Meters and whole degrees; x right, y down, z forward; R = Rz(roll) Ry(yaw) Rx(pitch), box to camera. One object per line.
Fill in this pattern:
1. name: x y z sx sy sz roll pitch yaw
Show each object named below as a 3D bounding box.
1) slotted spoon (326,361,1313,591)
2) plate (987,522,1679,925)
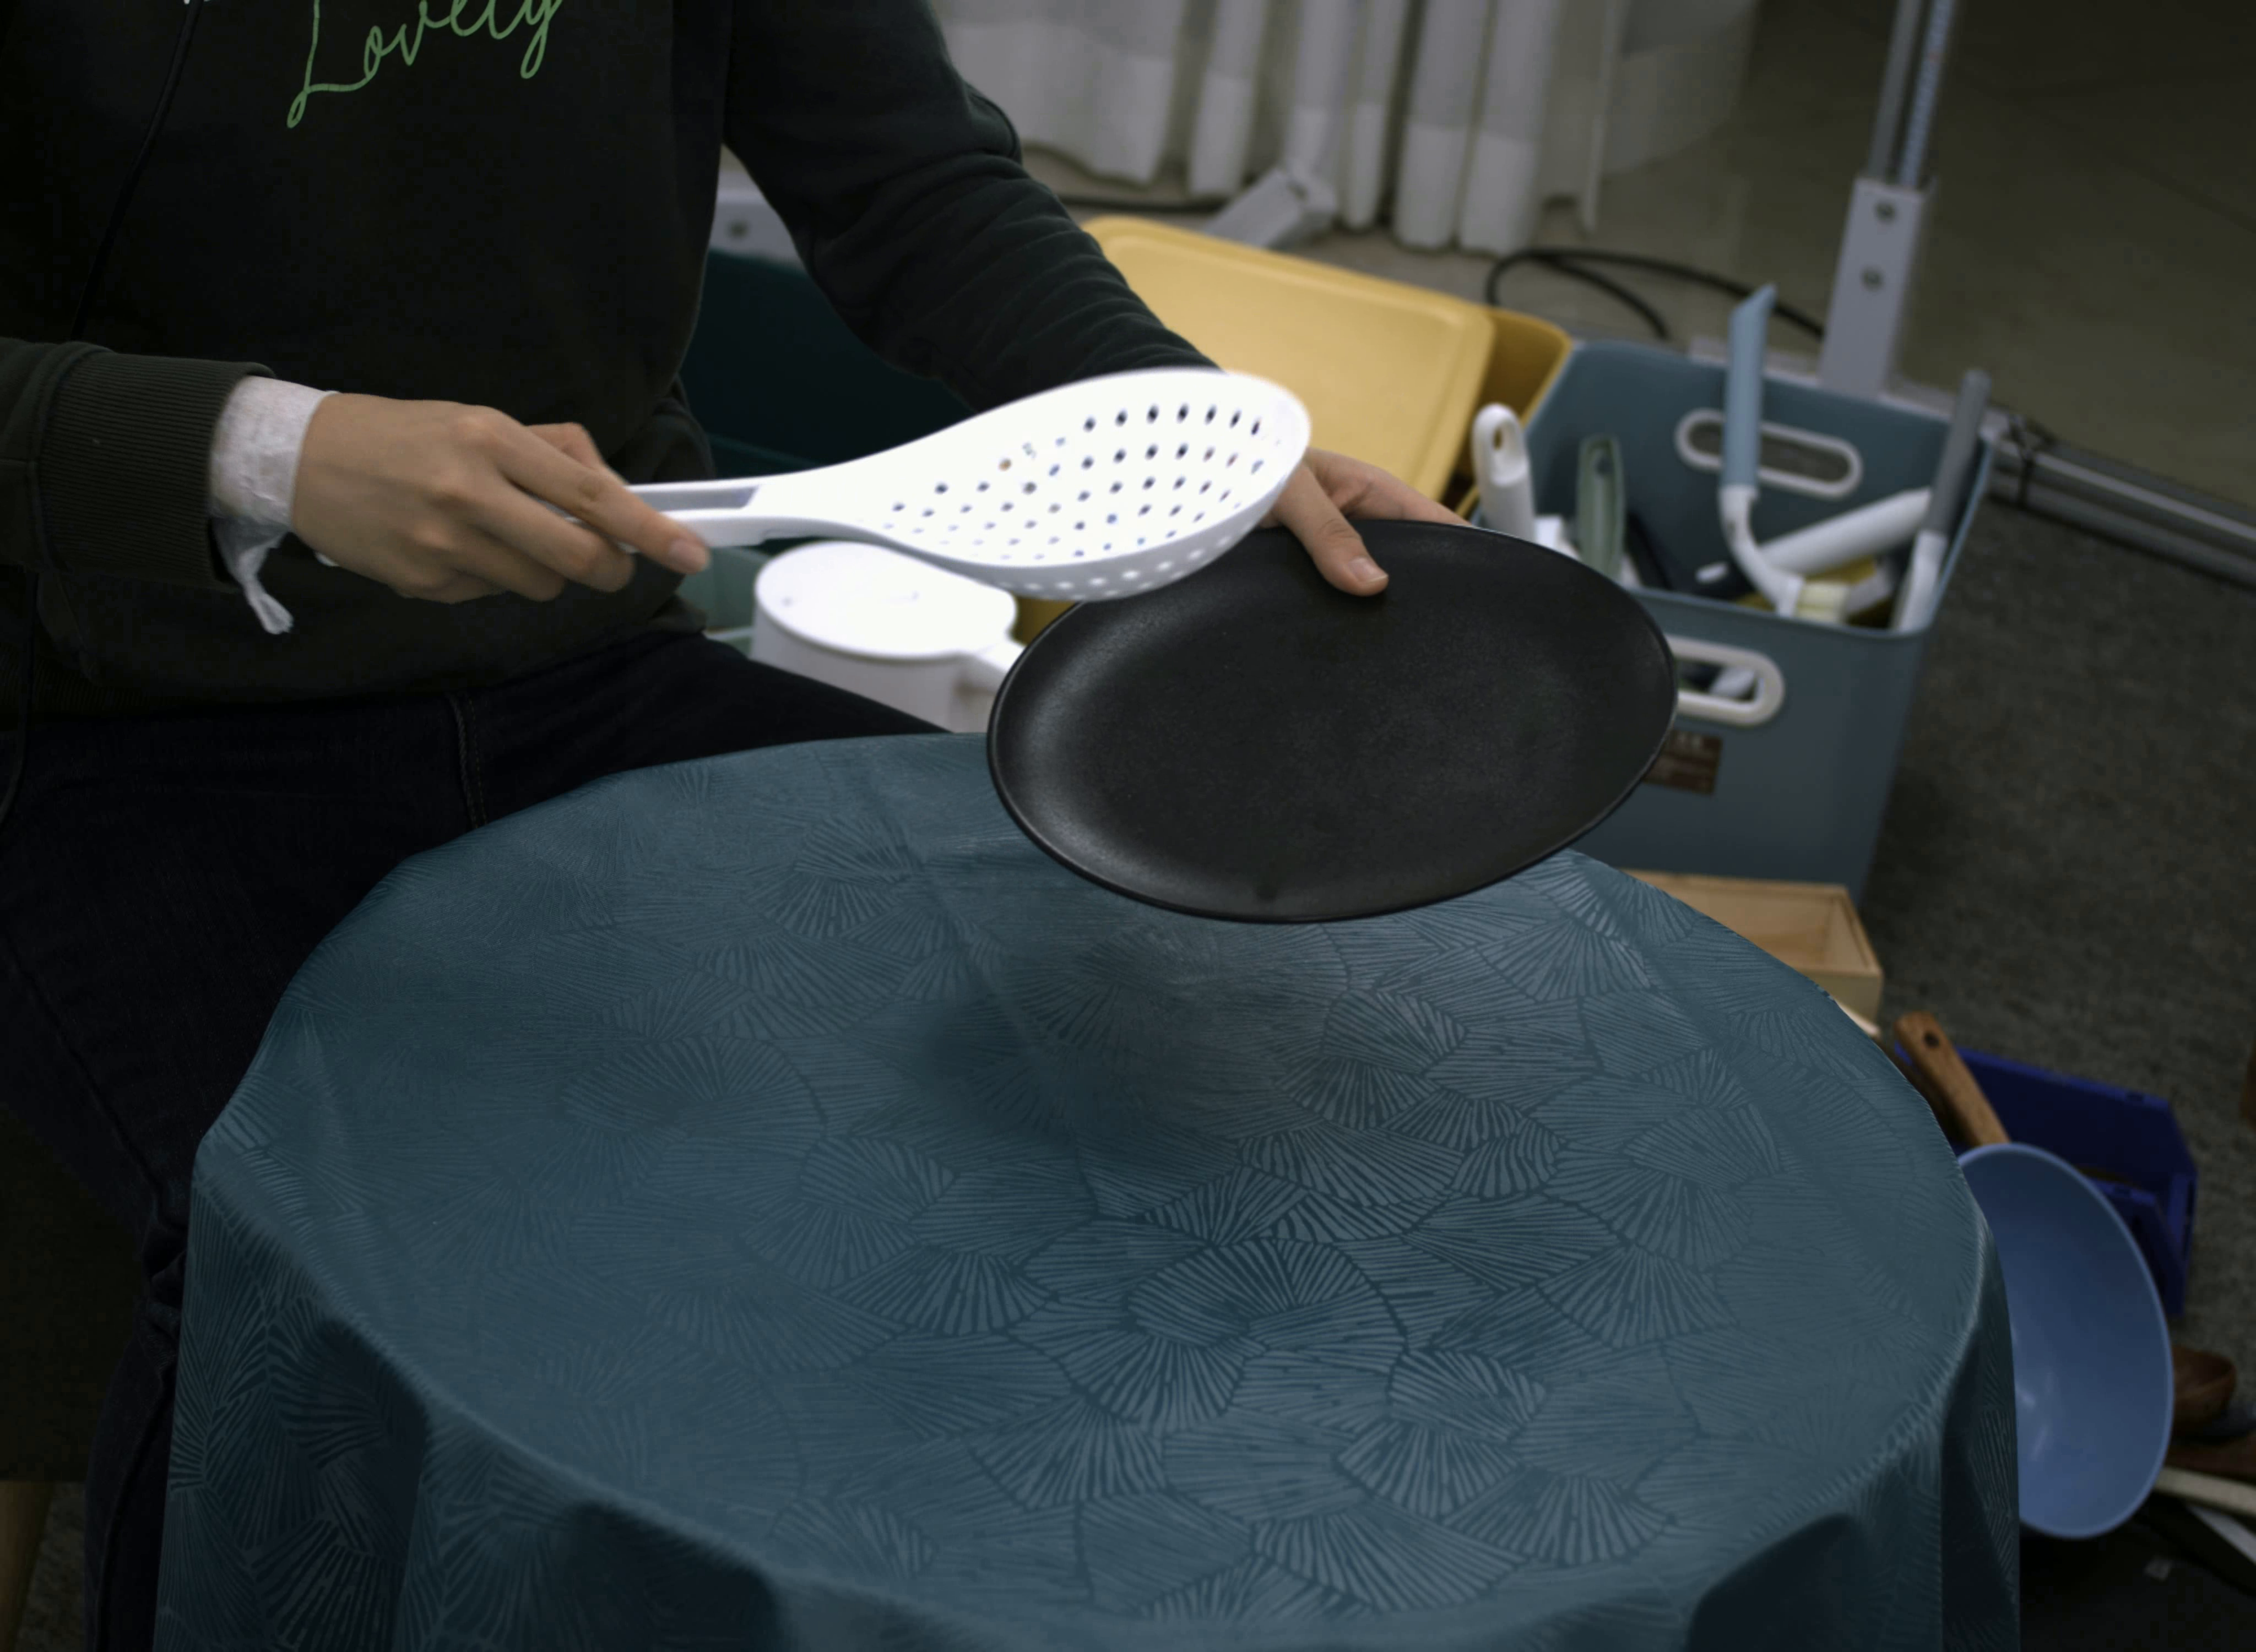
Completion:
1. slotted spoon: -0.107 -0.109 1.775 0.350 0.045 0.136 1 31 16
2. plate: 0.072 -0.033 1.862 0.244 0.023 0.246 -6 35 4
